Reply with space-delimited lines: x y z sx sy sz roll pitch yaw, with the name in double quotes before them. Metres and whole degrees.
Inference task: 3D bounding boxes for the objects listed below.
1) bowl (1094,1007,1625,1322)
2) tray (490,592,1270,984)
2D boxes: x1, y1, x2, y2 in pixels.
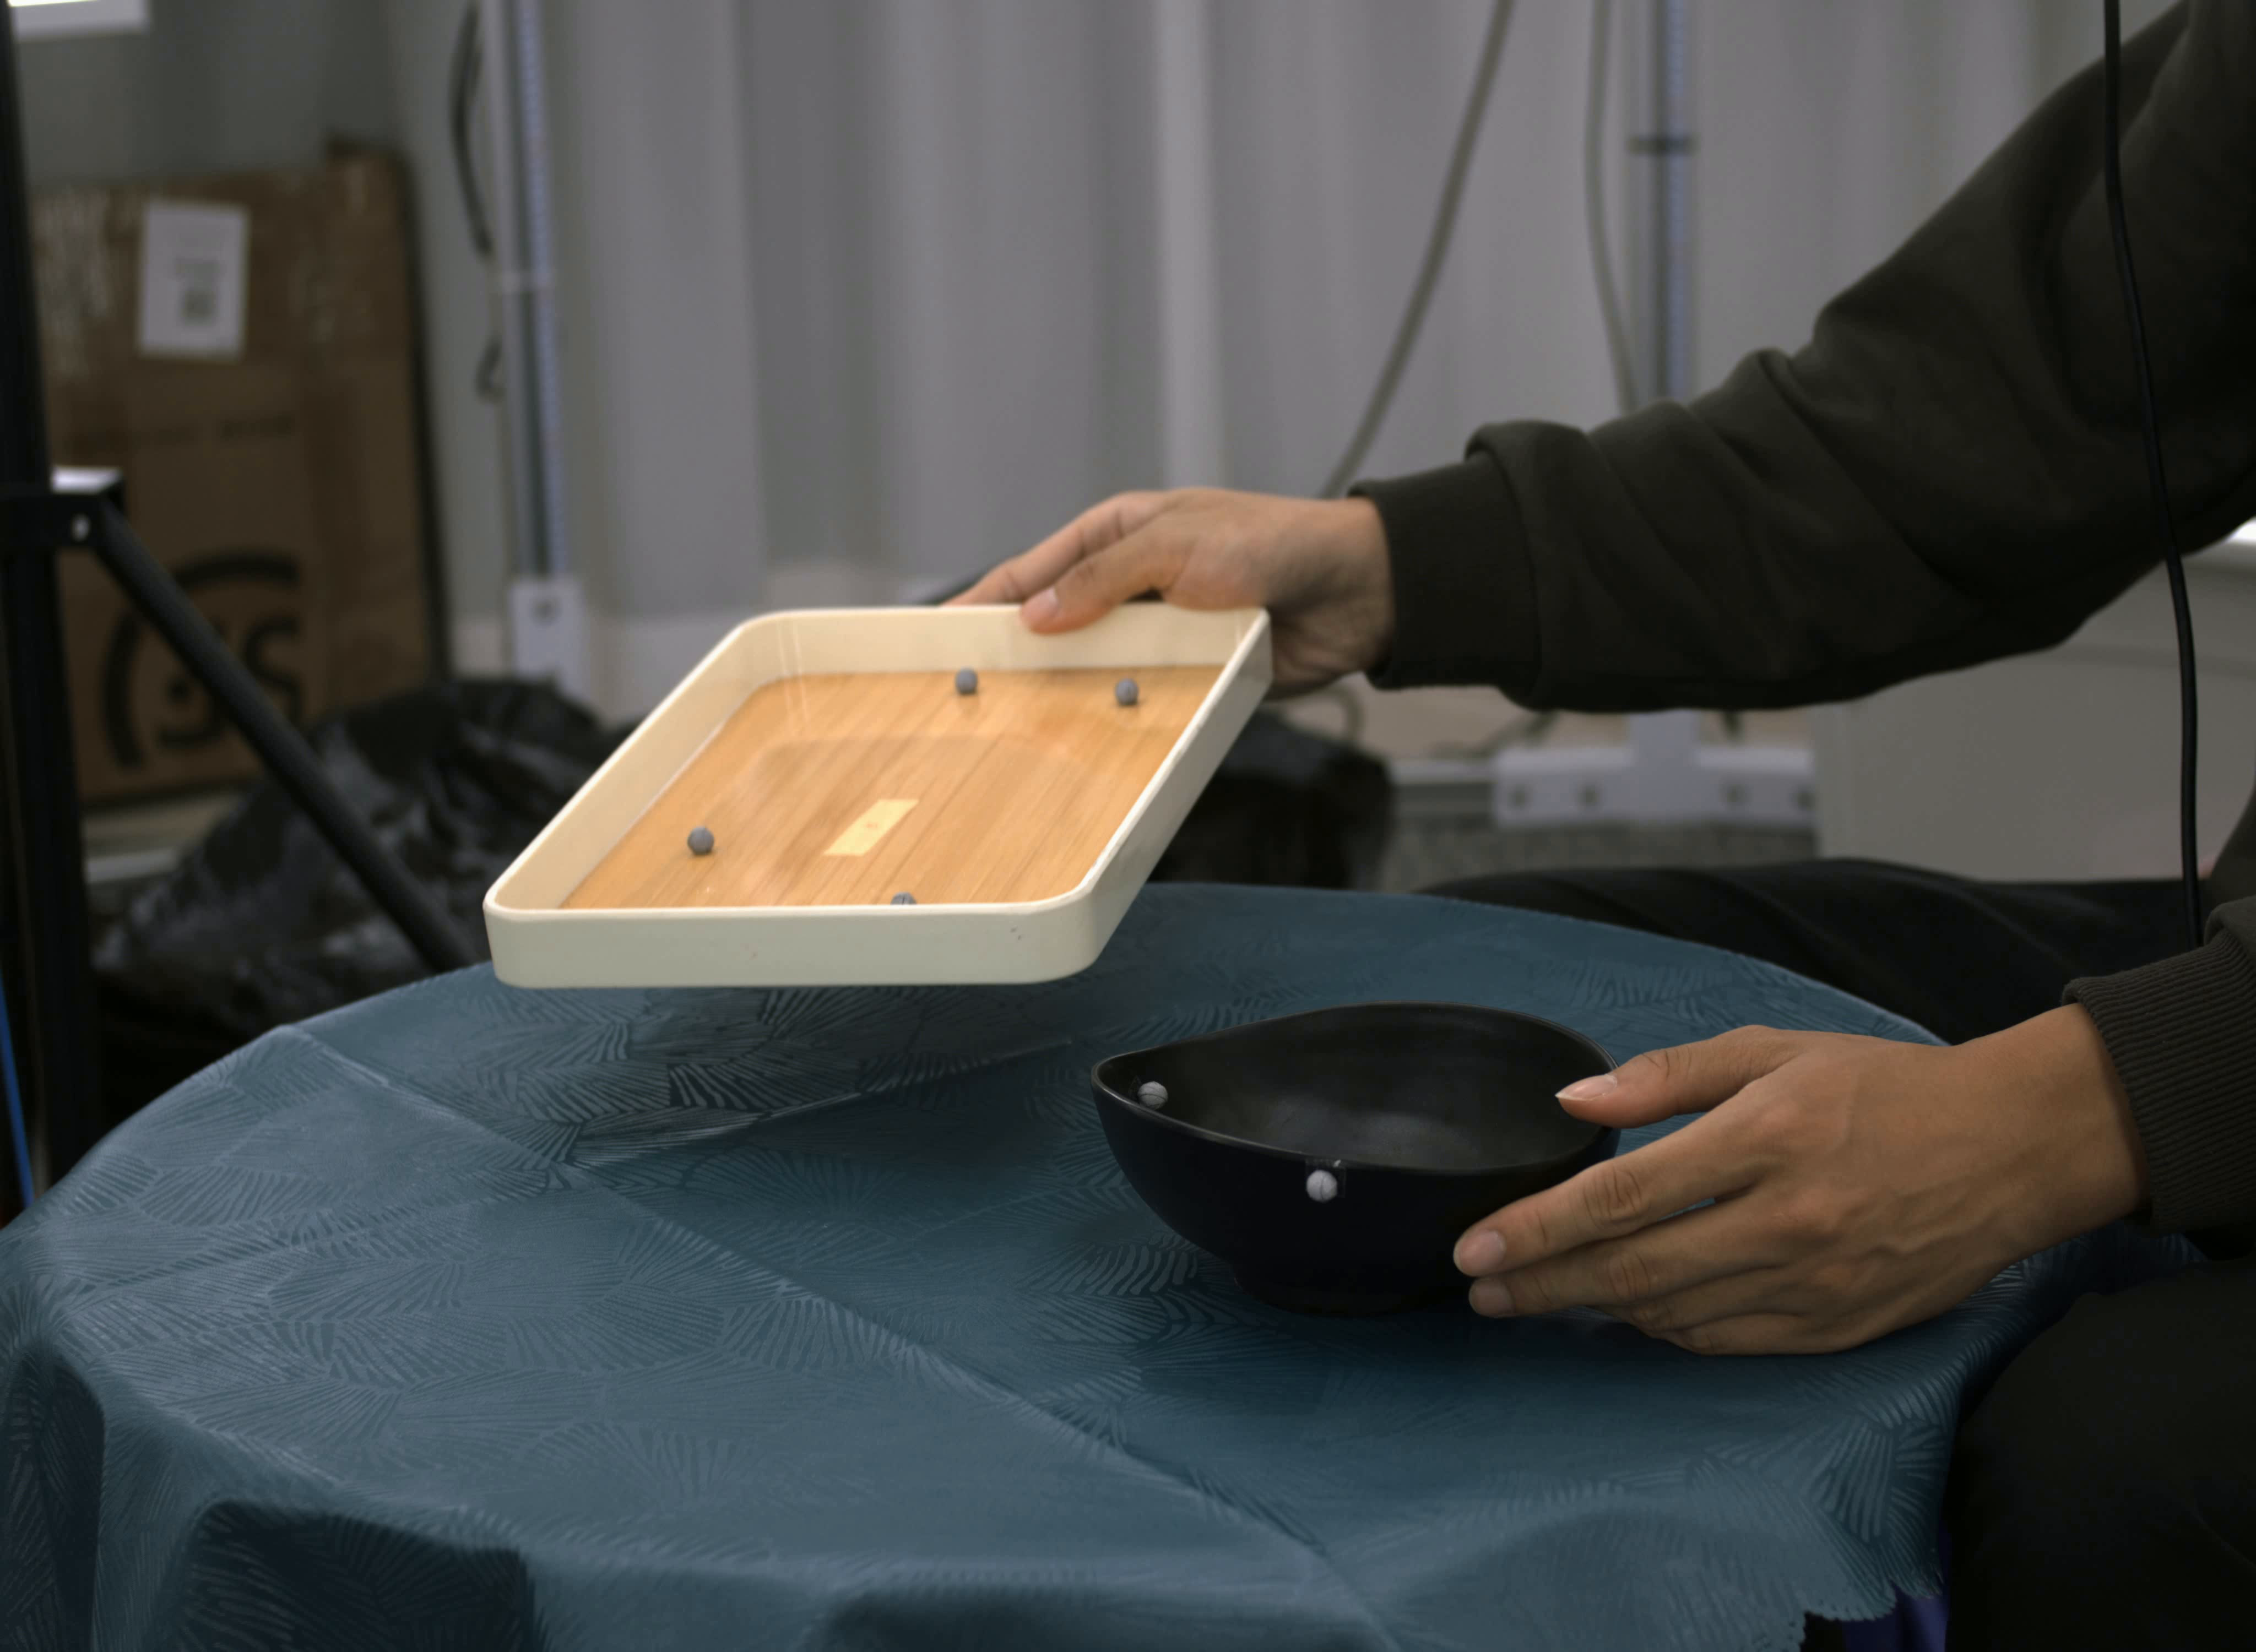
"bowl" 0.063 0.098 1.476 0.134 0.067 0.174 -11 16 -33
"tray" -0.072 -0.015 1.709 0.193 0.027 0.299 -2 20 15
